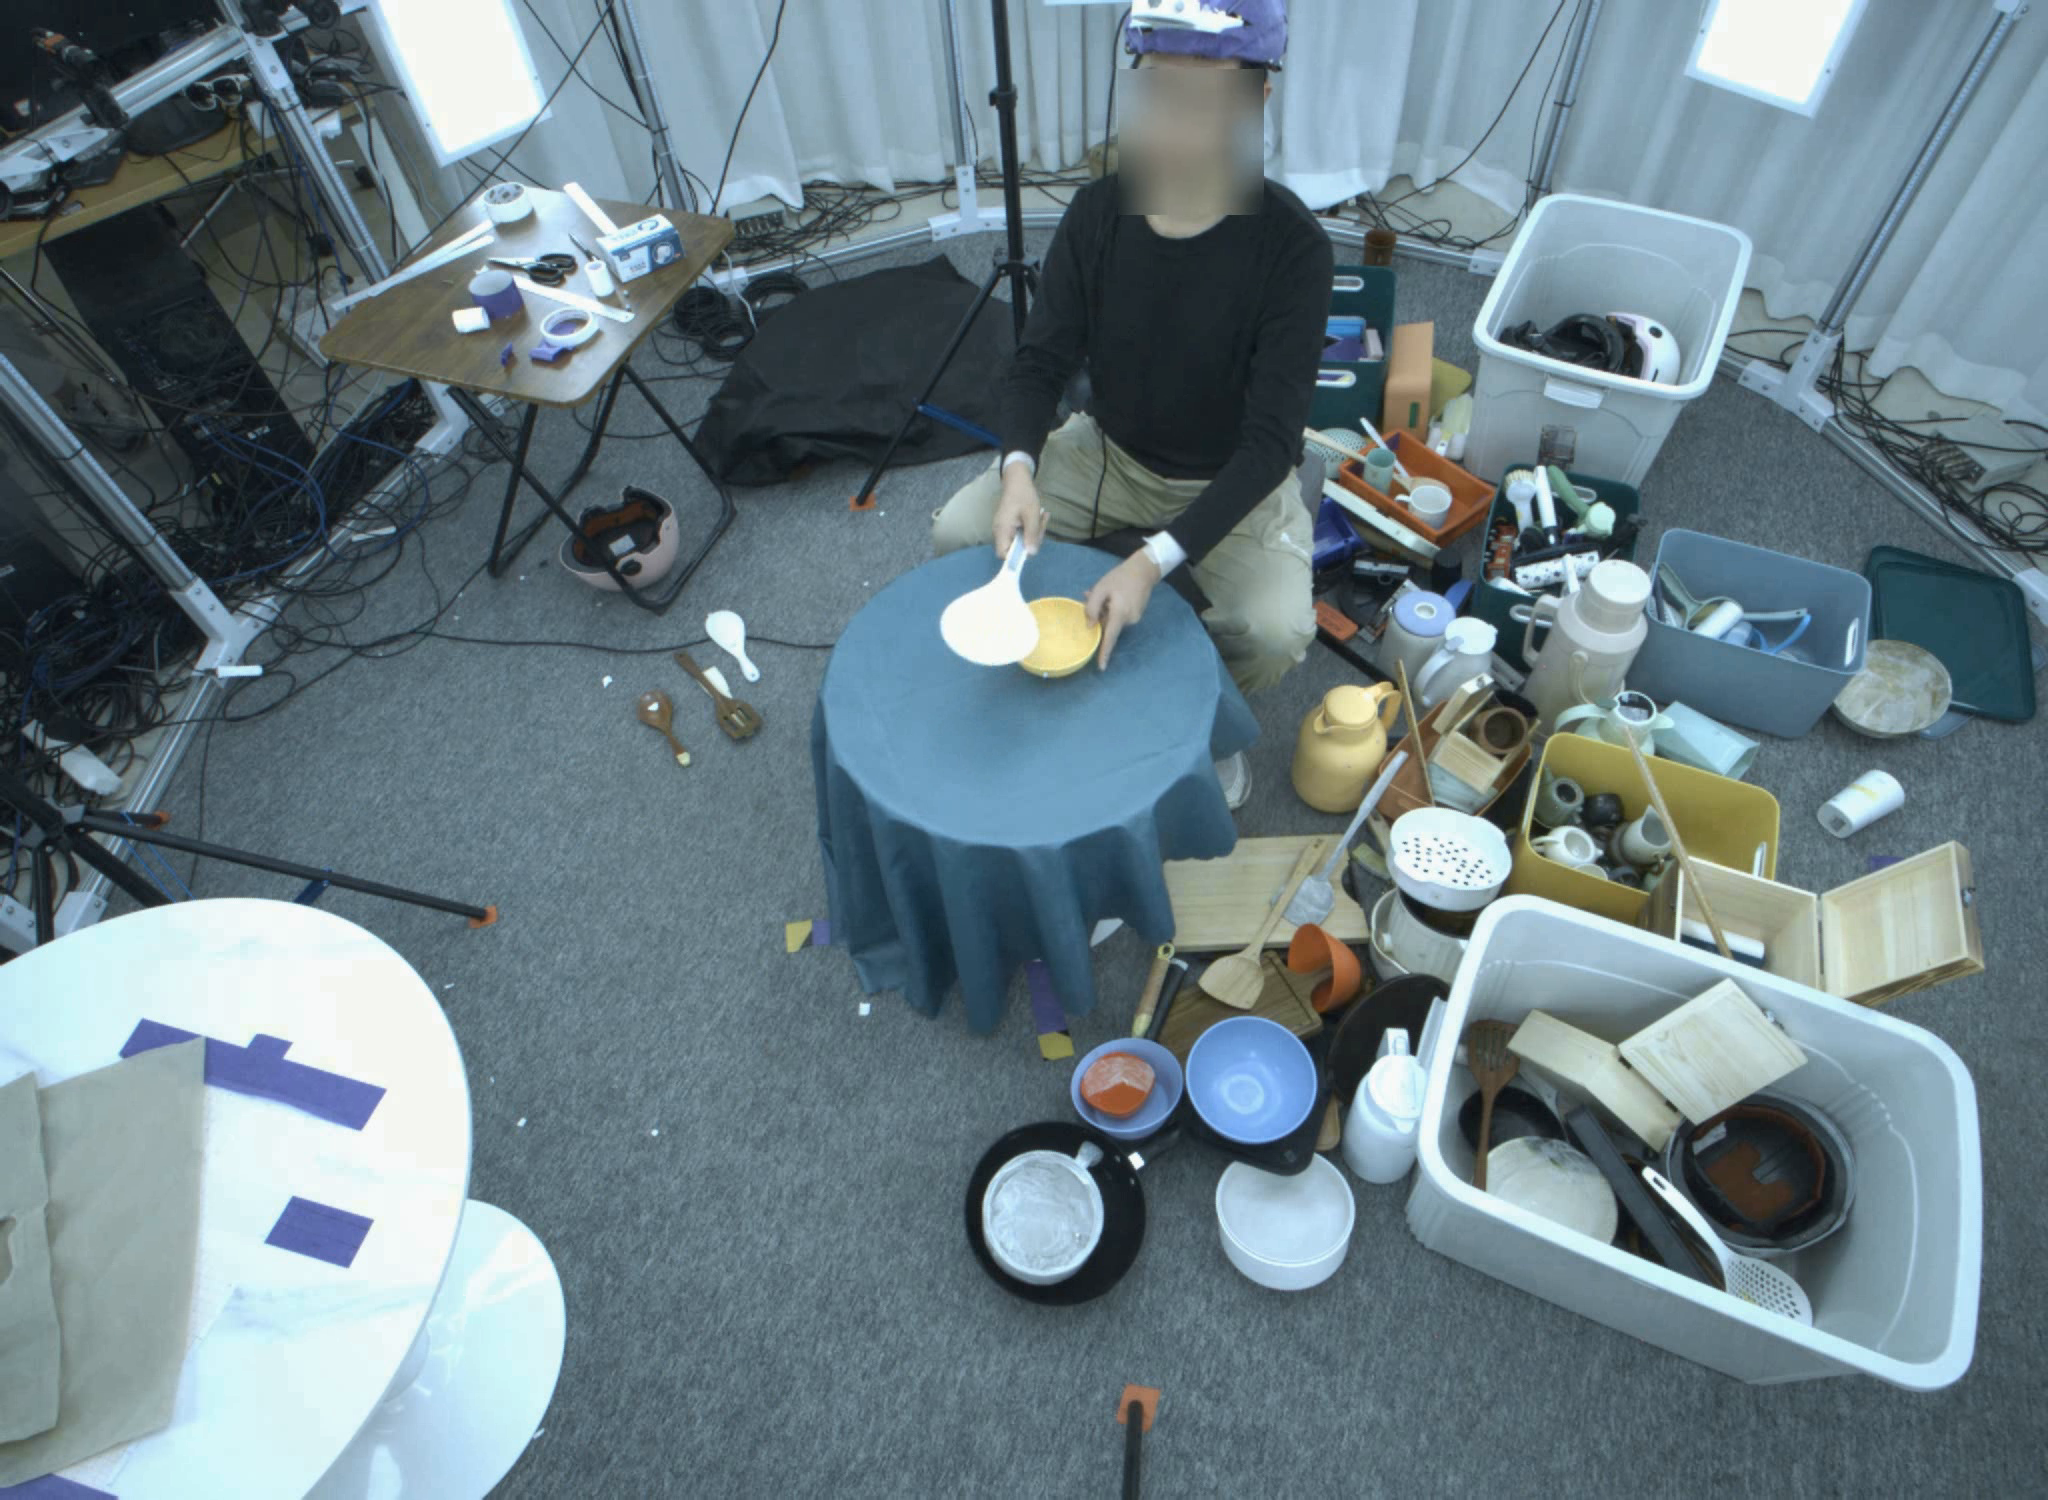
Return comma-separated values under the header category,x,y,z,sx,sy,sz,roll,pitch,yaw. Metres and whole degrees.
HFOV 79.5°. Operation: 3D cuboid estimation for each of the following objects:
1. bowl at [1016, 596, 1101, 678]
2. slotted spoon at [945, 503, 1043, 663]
category,x,y,z,sx,sy,sz,roll,pitch,yaw
bowl,0.045,-0.160,1.867,0.145,0.061,0.144,0,57,1
slotted spoon,-0.023,-0.252,1.814,0.136,0.046,0.348,17,56,-2
